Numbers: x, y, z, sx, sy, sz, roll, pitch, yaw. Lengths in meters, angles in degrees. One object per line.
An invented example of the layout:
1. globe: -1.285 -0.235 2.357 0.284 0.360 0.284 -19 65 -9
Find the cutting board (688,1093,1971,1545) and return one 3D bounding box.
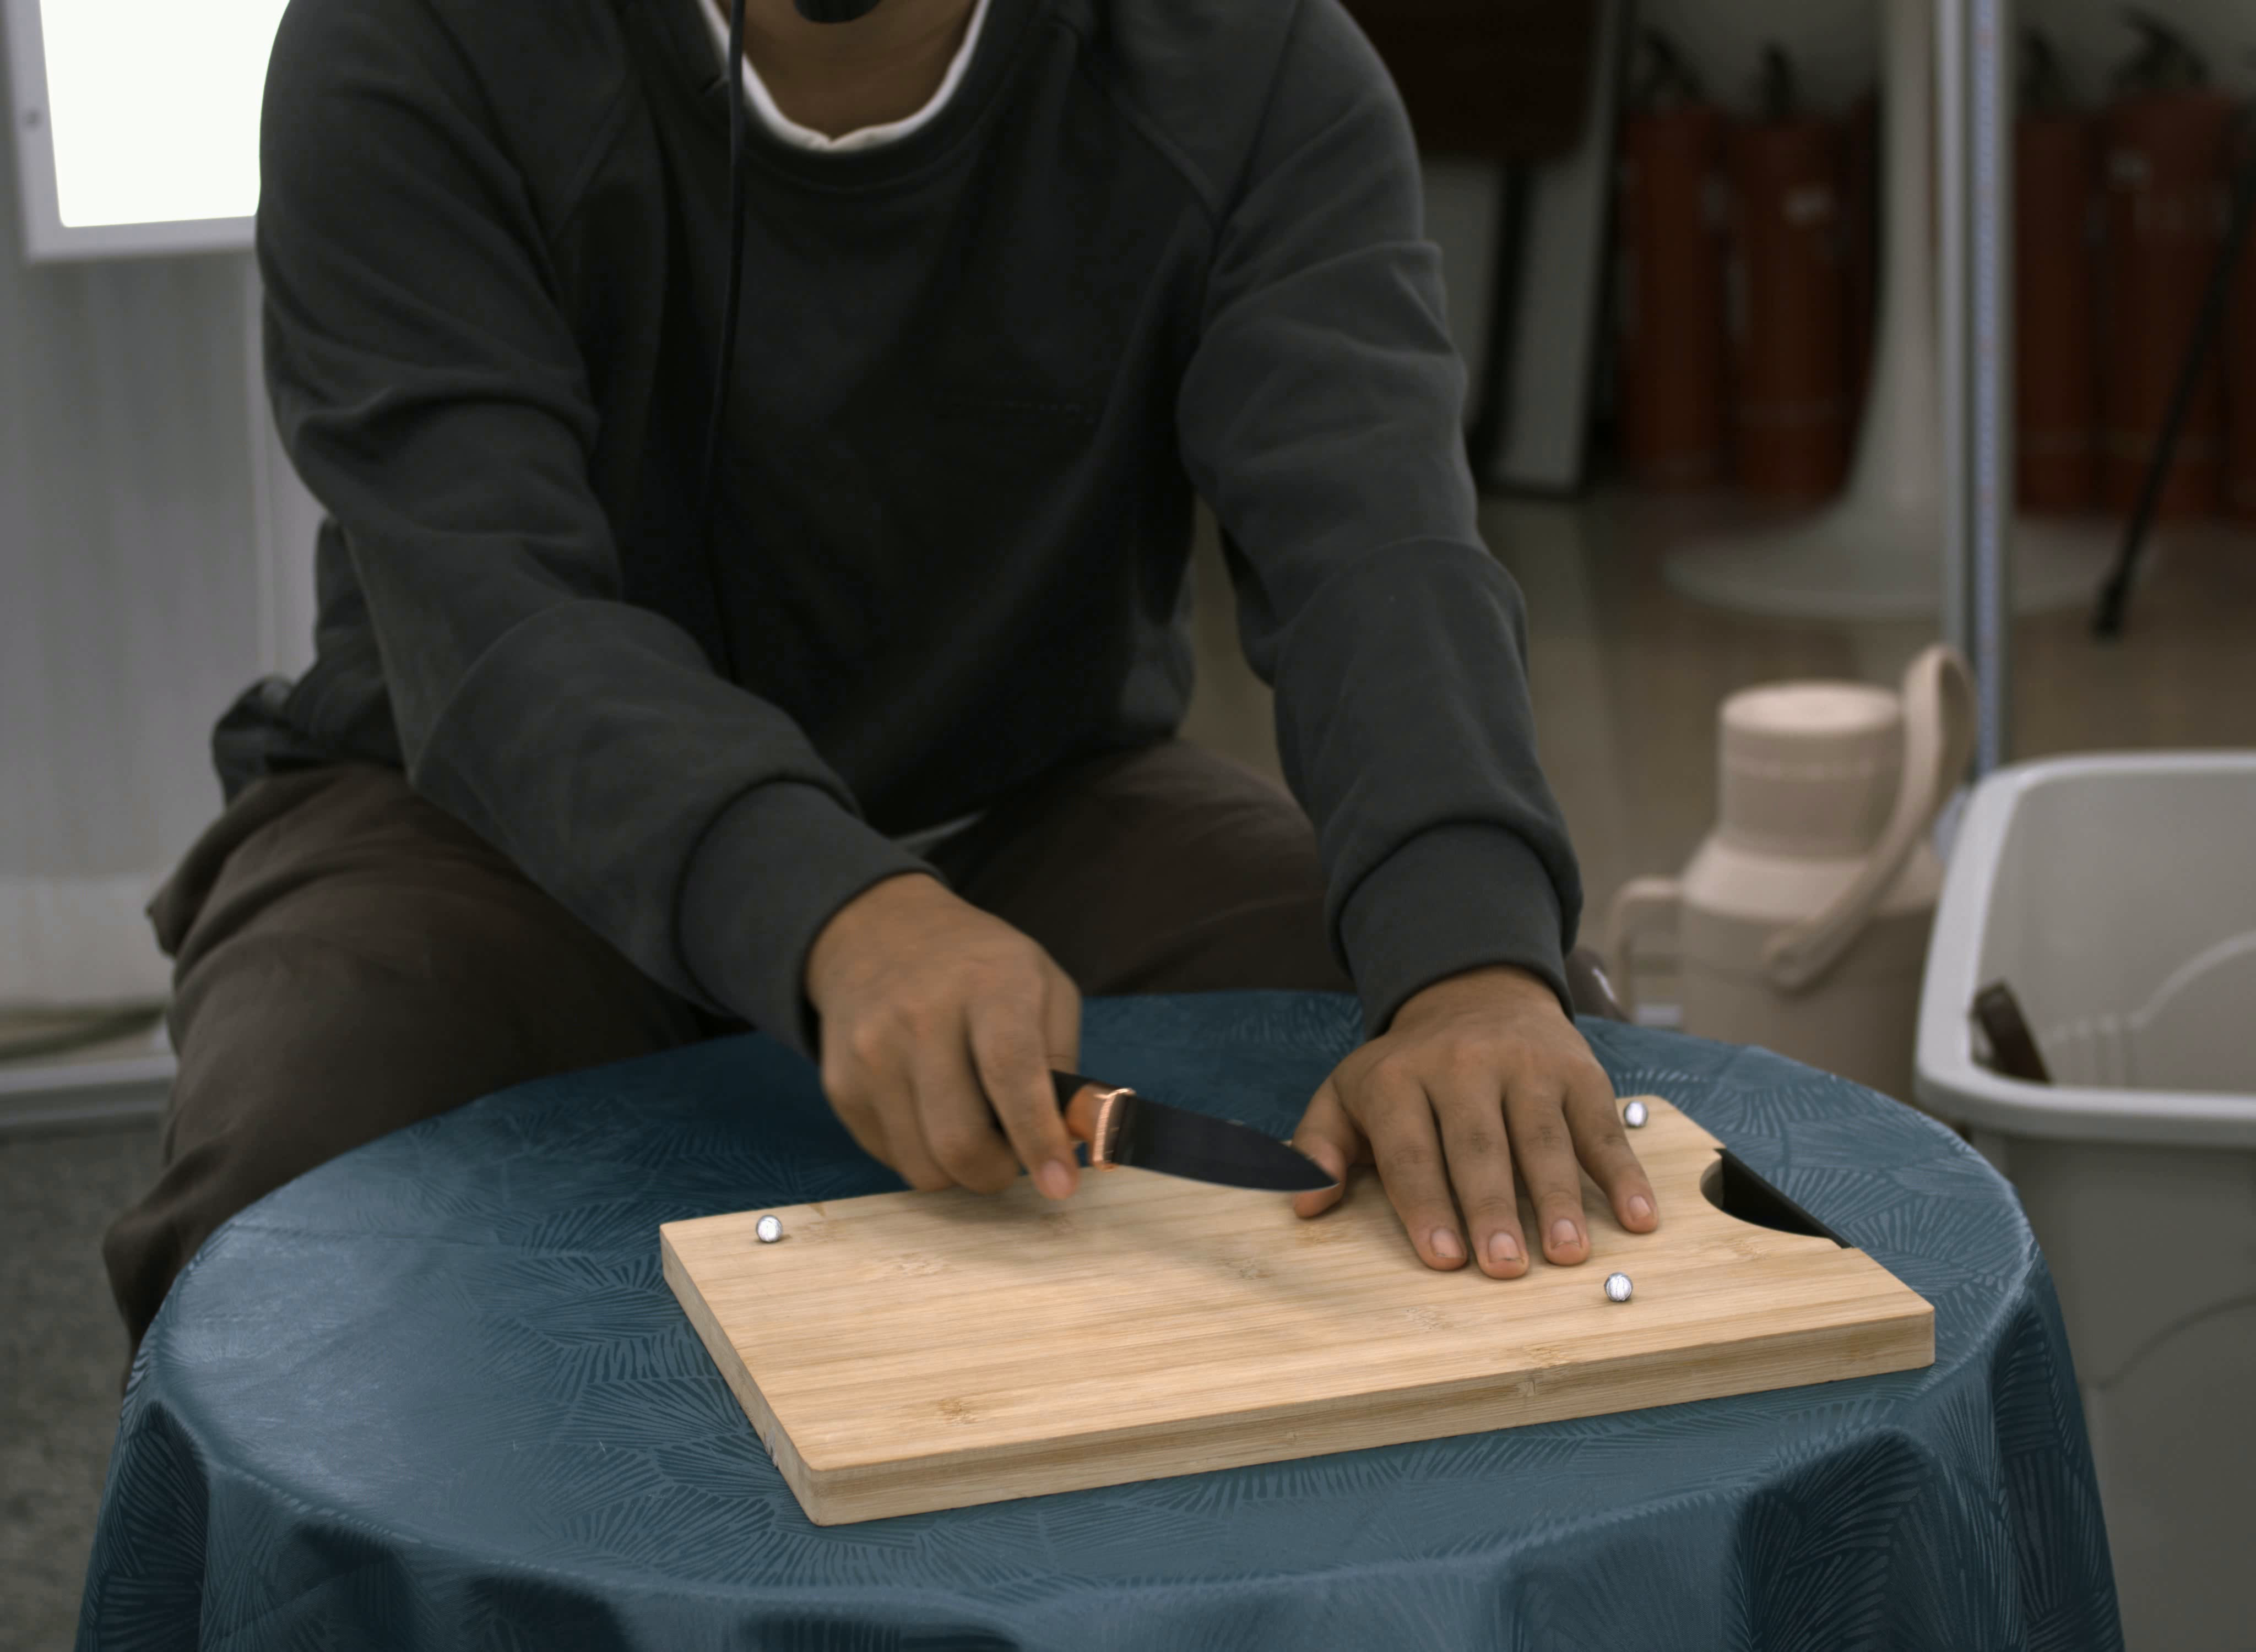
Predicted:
1. cutting board: 0.050 0.143 1.638 0.342 0.024 0.252 -7 15 -13

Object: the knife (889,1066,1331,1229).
1. knife: -0.007 0.096 1.637 0.017 0.026 0.228 19 -6 -36
